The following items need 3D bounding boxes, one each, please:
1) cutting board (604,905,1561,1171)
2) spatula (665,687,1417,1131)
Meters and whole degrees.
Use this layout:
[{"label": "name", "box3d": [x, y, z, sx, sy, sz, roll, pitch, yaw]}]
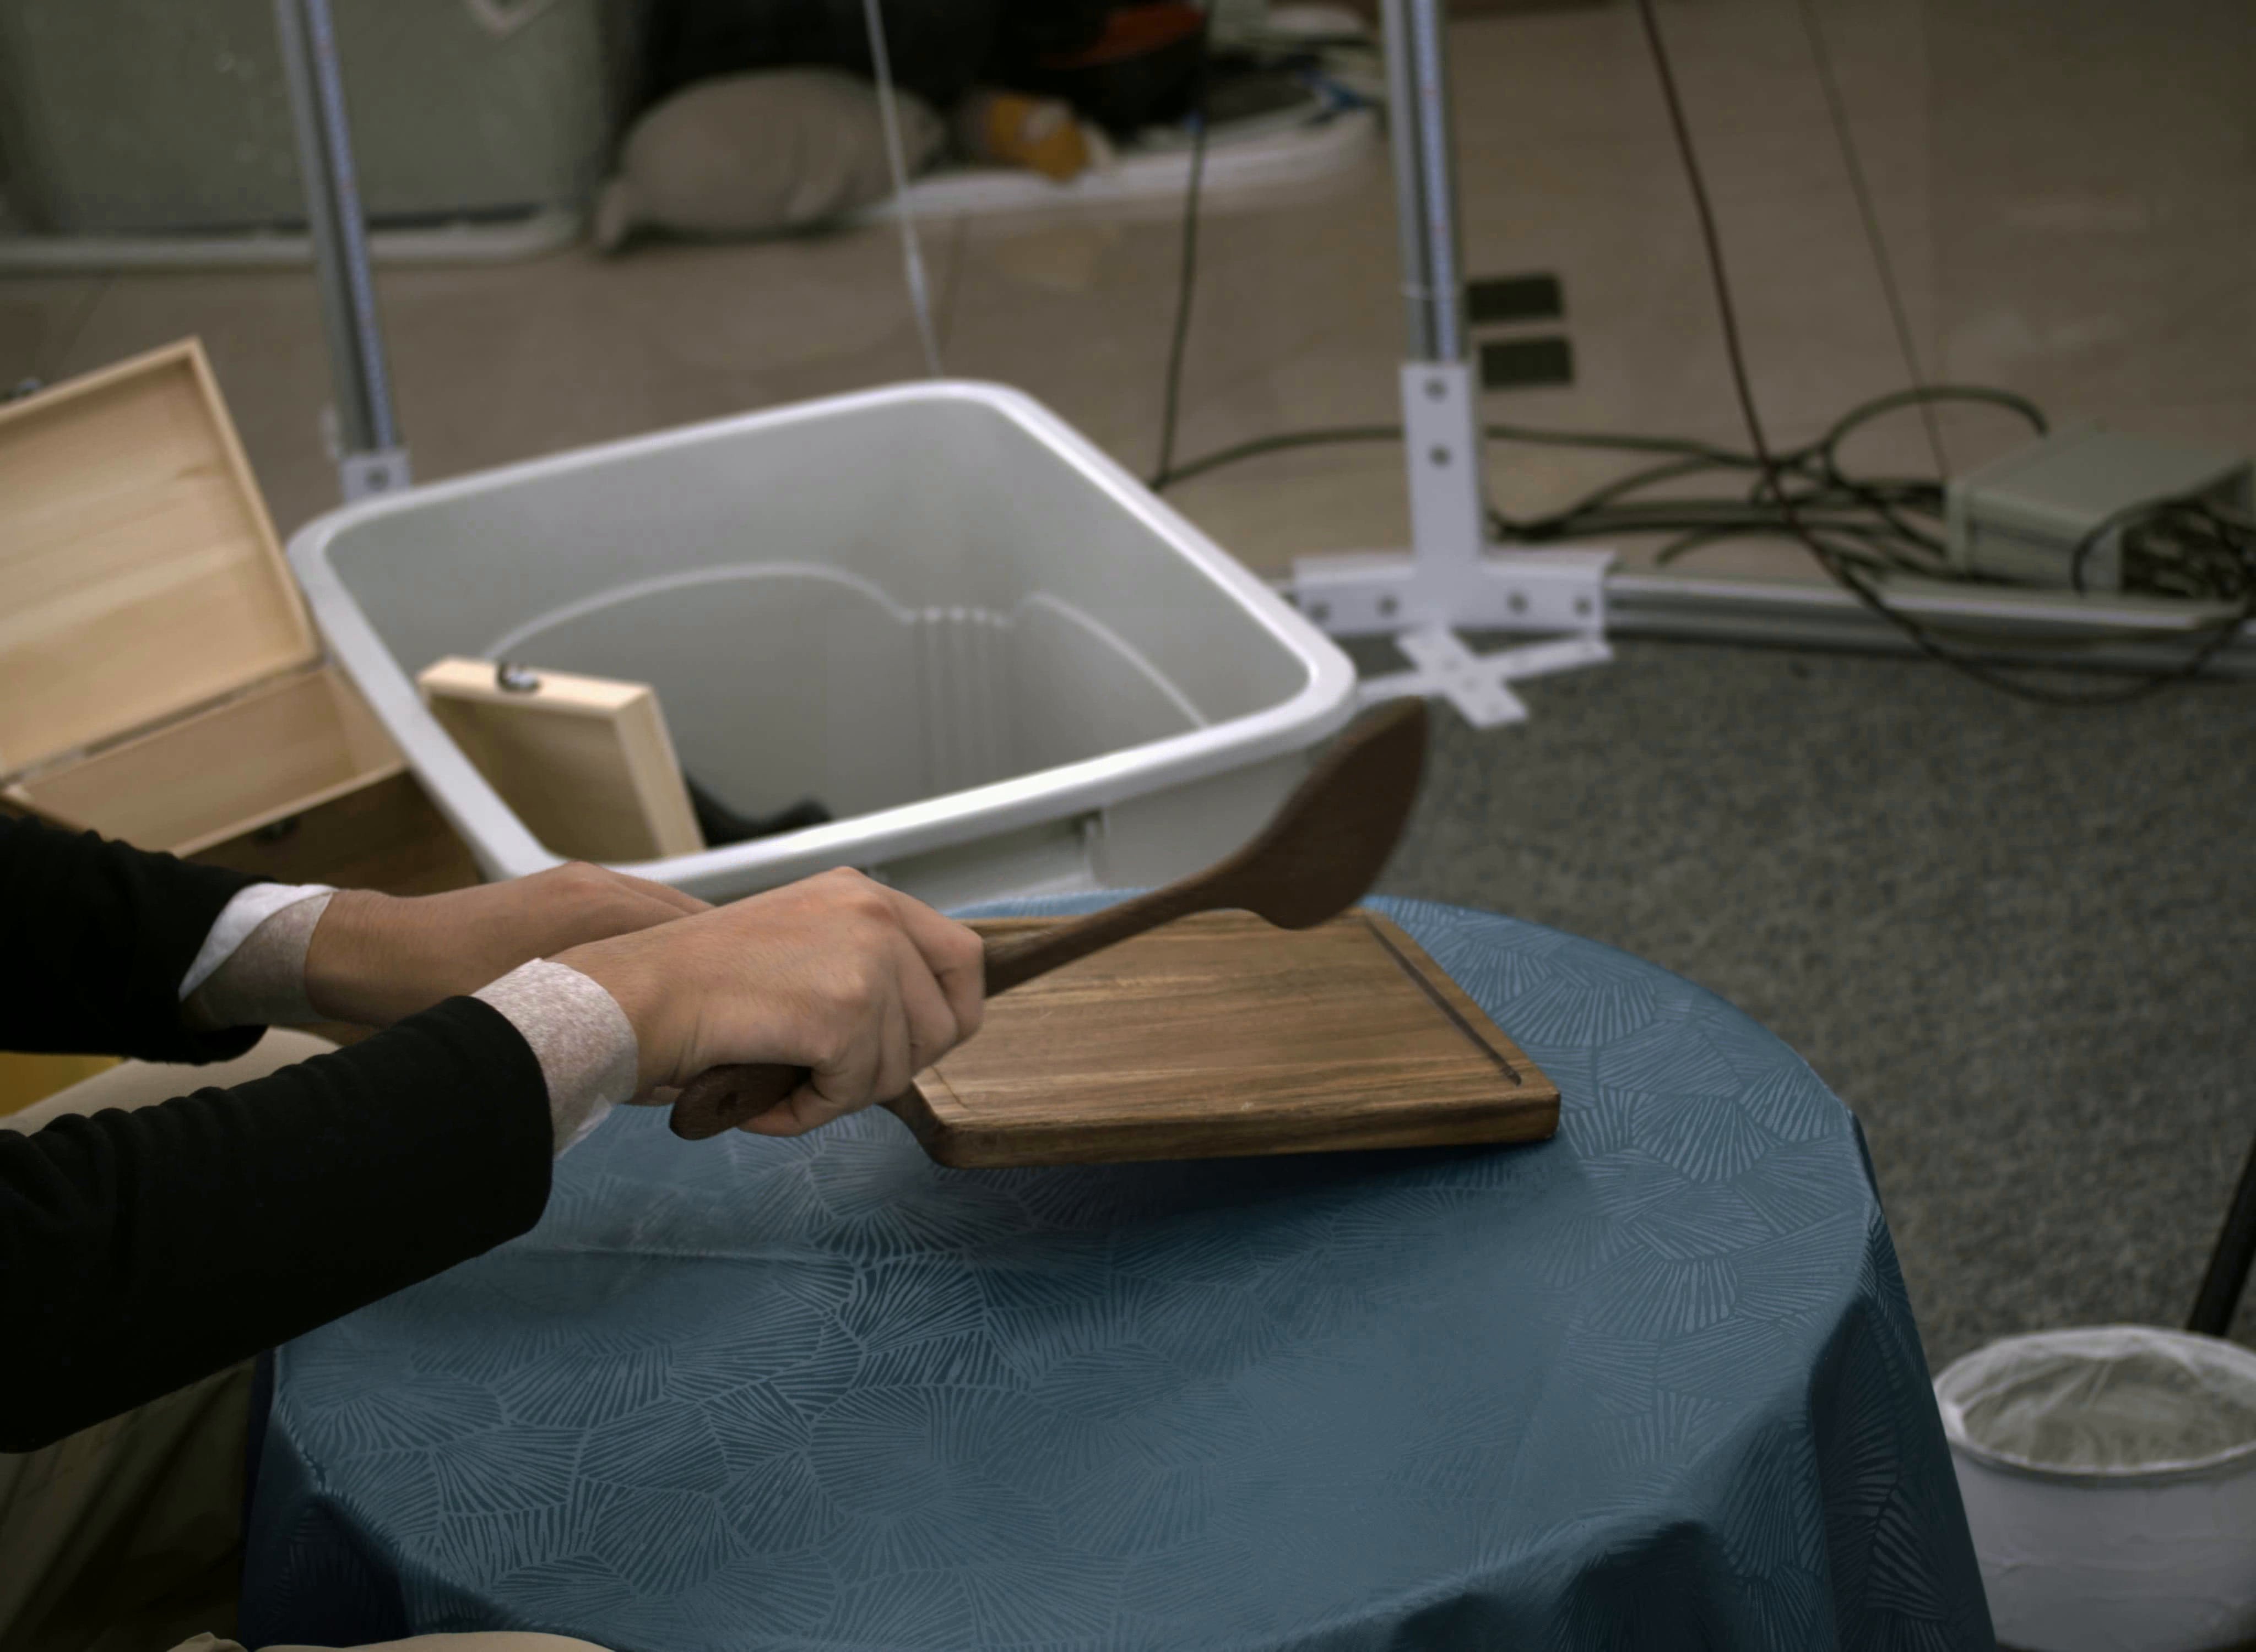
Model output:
[{"label": "cutting board", "box3d": [-0.030, 0.080, 2.170, 0.351, 0.023, 0.198, -2, 22, -20]}, {"label": "spatula", "box3d": [-0.025, 0.038, 2.035, 0.383, 0.098, 0.015, -22, 47, -41]}]
